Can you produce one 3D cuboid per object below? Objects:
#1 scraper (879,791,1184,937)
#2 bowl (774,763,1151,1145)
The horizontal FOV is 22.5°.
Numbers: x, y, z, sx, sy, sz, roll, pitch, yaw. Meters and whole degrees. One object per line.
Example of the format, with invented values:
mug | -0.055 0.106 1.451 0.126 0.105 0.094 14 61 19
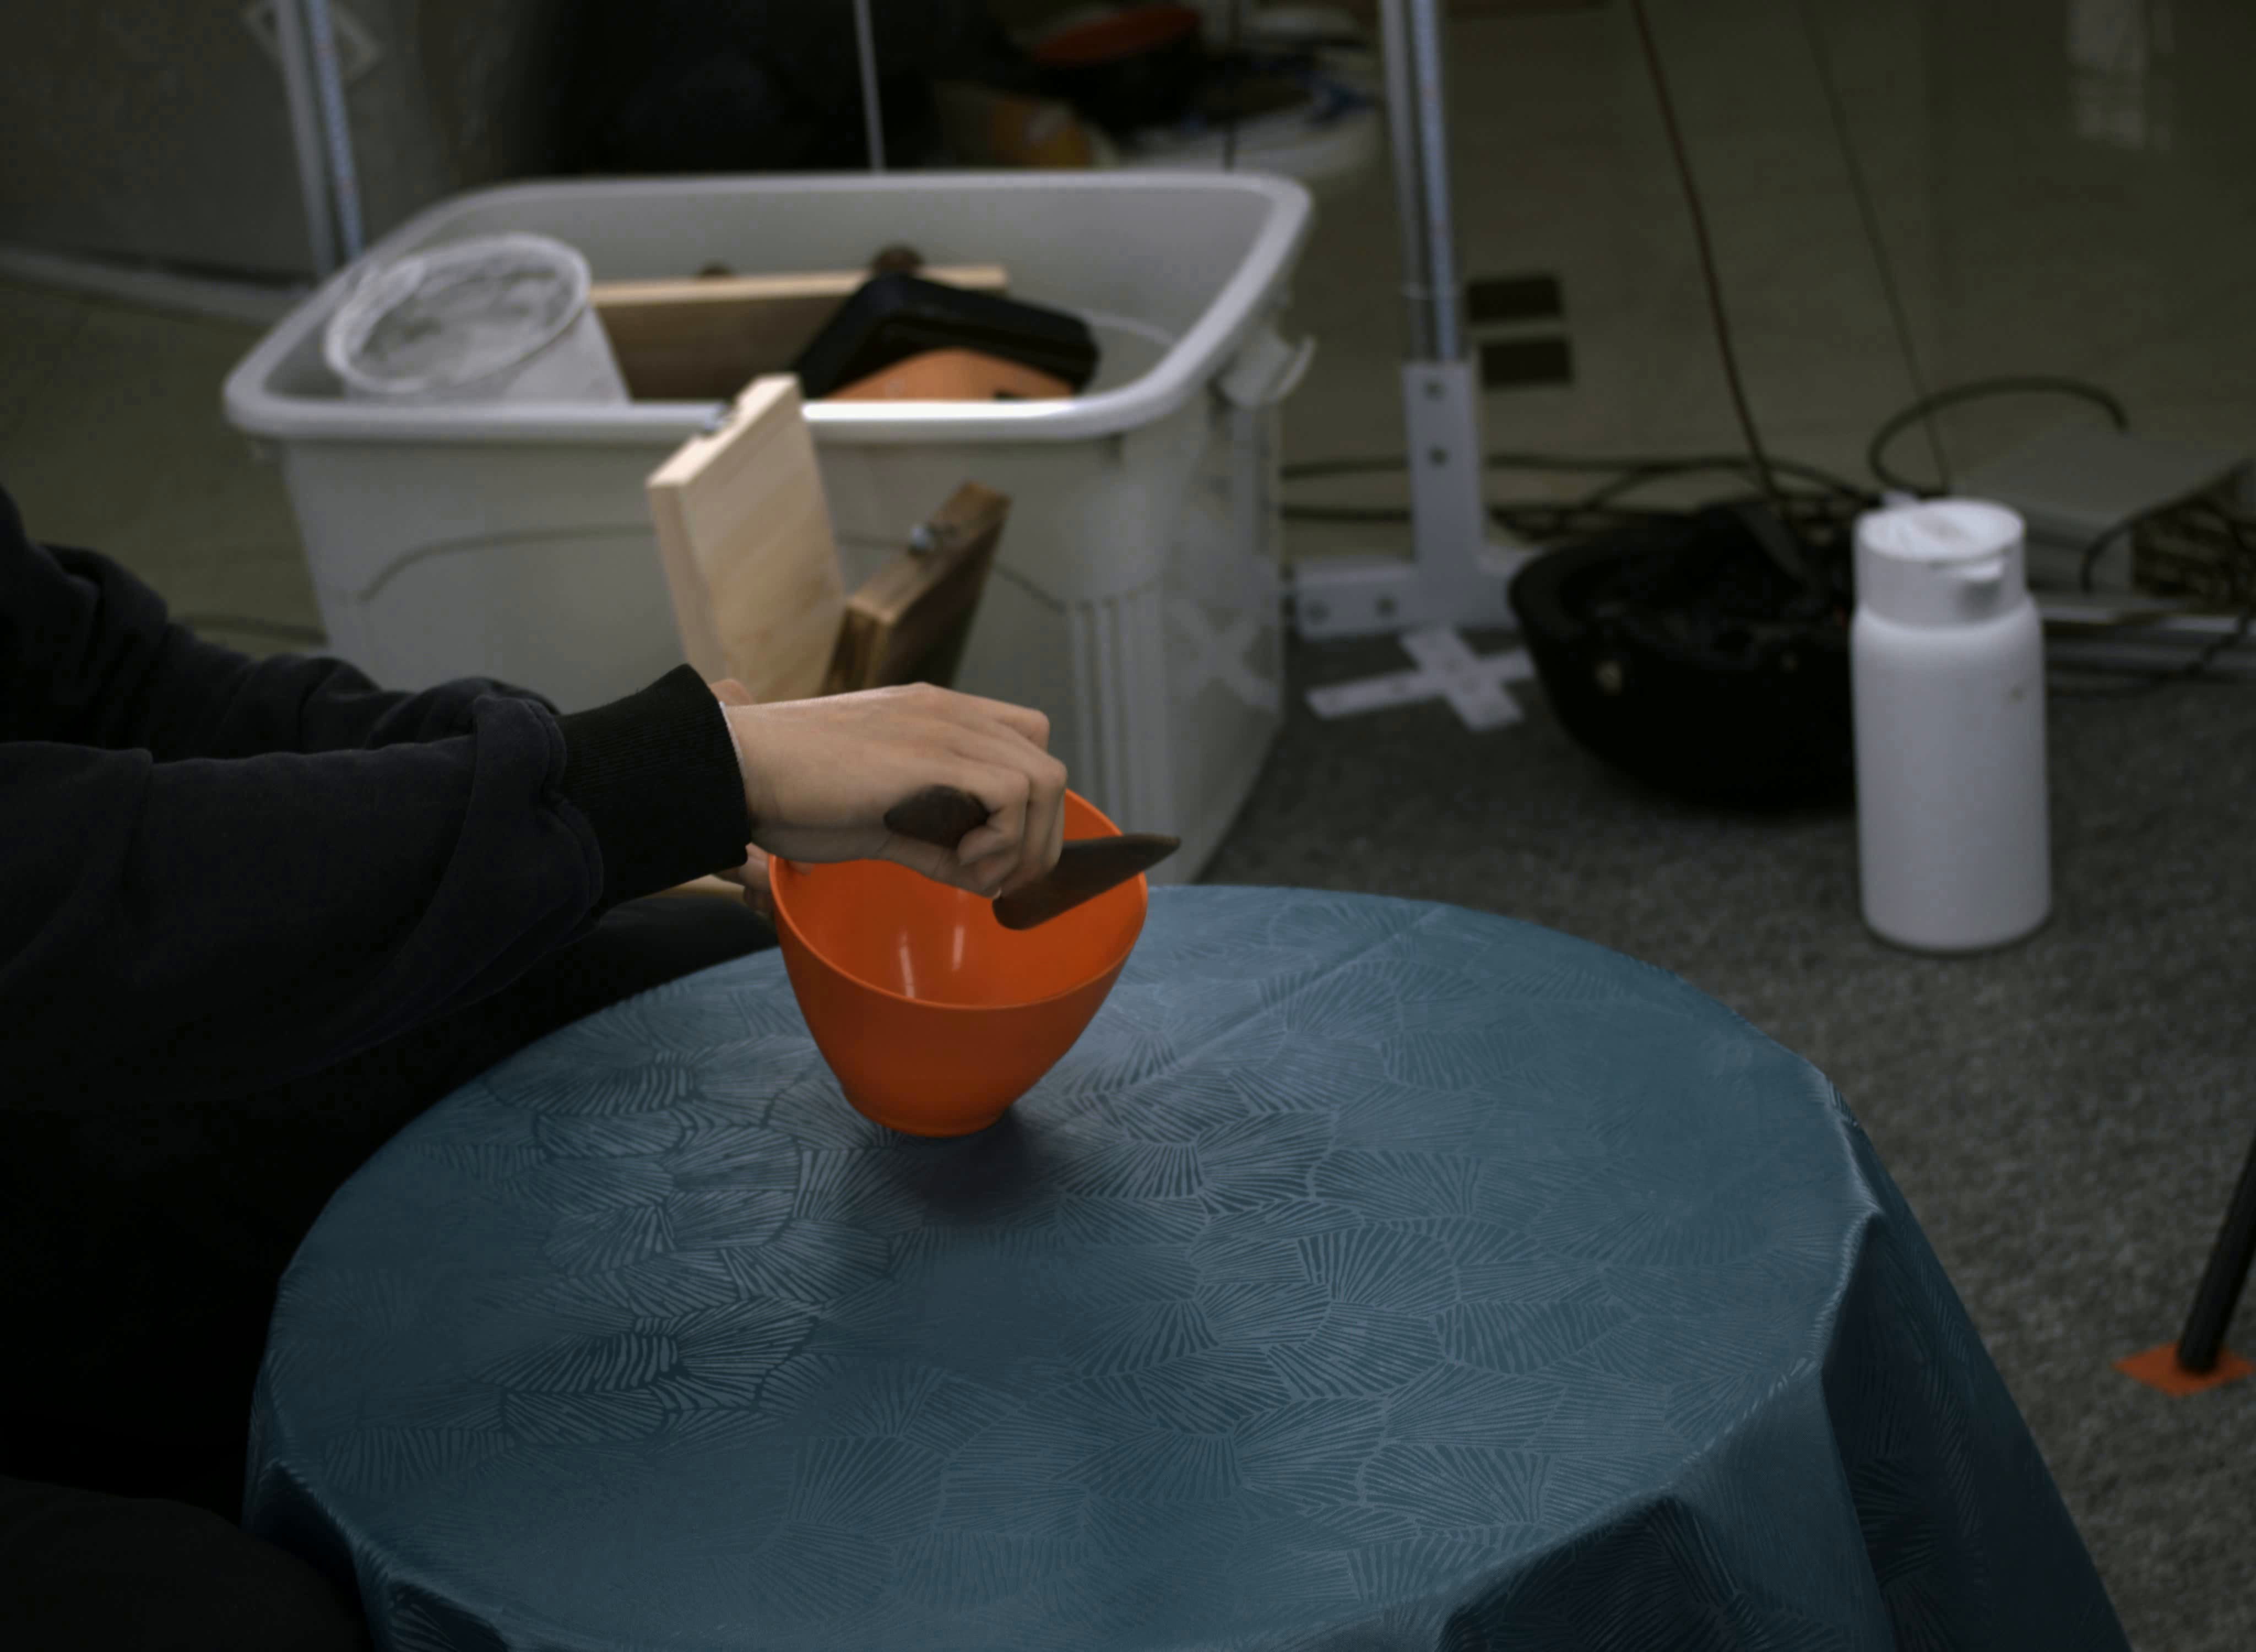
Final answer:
scraper | -0.042 0.011 2.083 0.076 0.011 0.212 -28 -17 14
bowl | -0.070 0.057 2.208 0.148 0.106 0.145 8 31 -5
